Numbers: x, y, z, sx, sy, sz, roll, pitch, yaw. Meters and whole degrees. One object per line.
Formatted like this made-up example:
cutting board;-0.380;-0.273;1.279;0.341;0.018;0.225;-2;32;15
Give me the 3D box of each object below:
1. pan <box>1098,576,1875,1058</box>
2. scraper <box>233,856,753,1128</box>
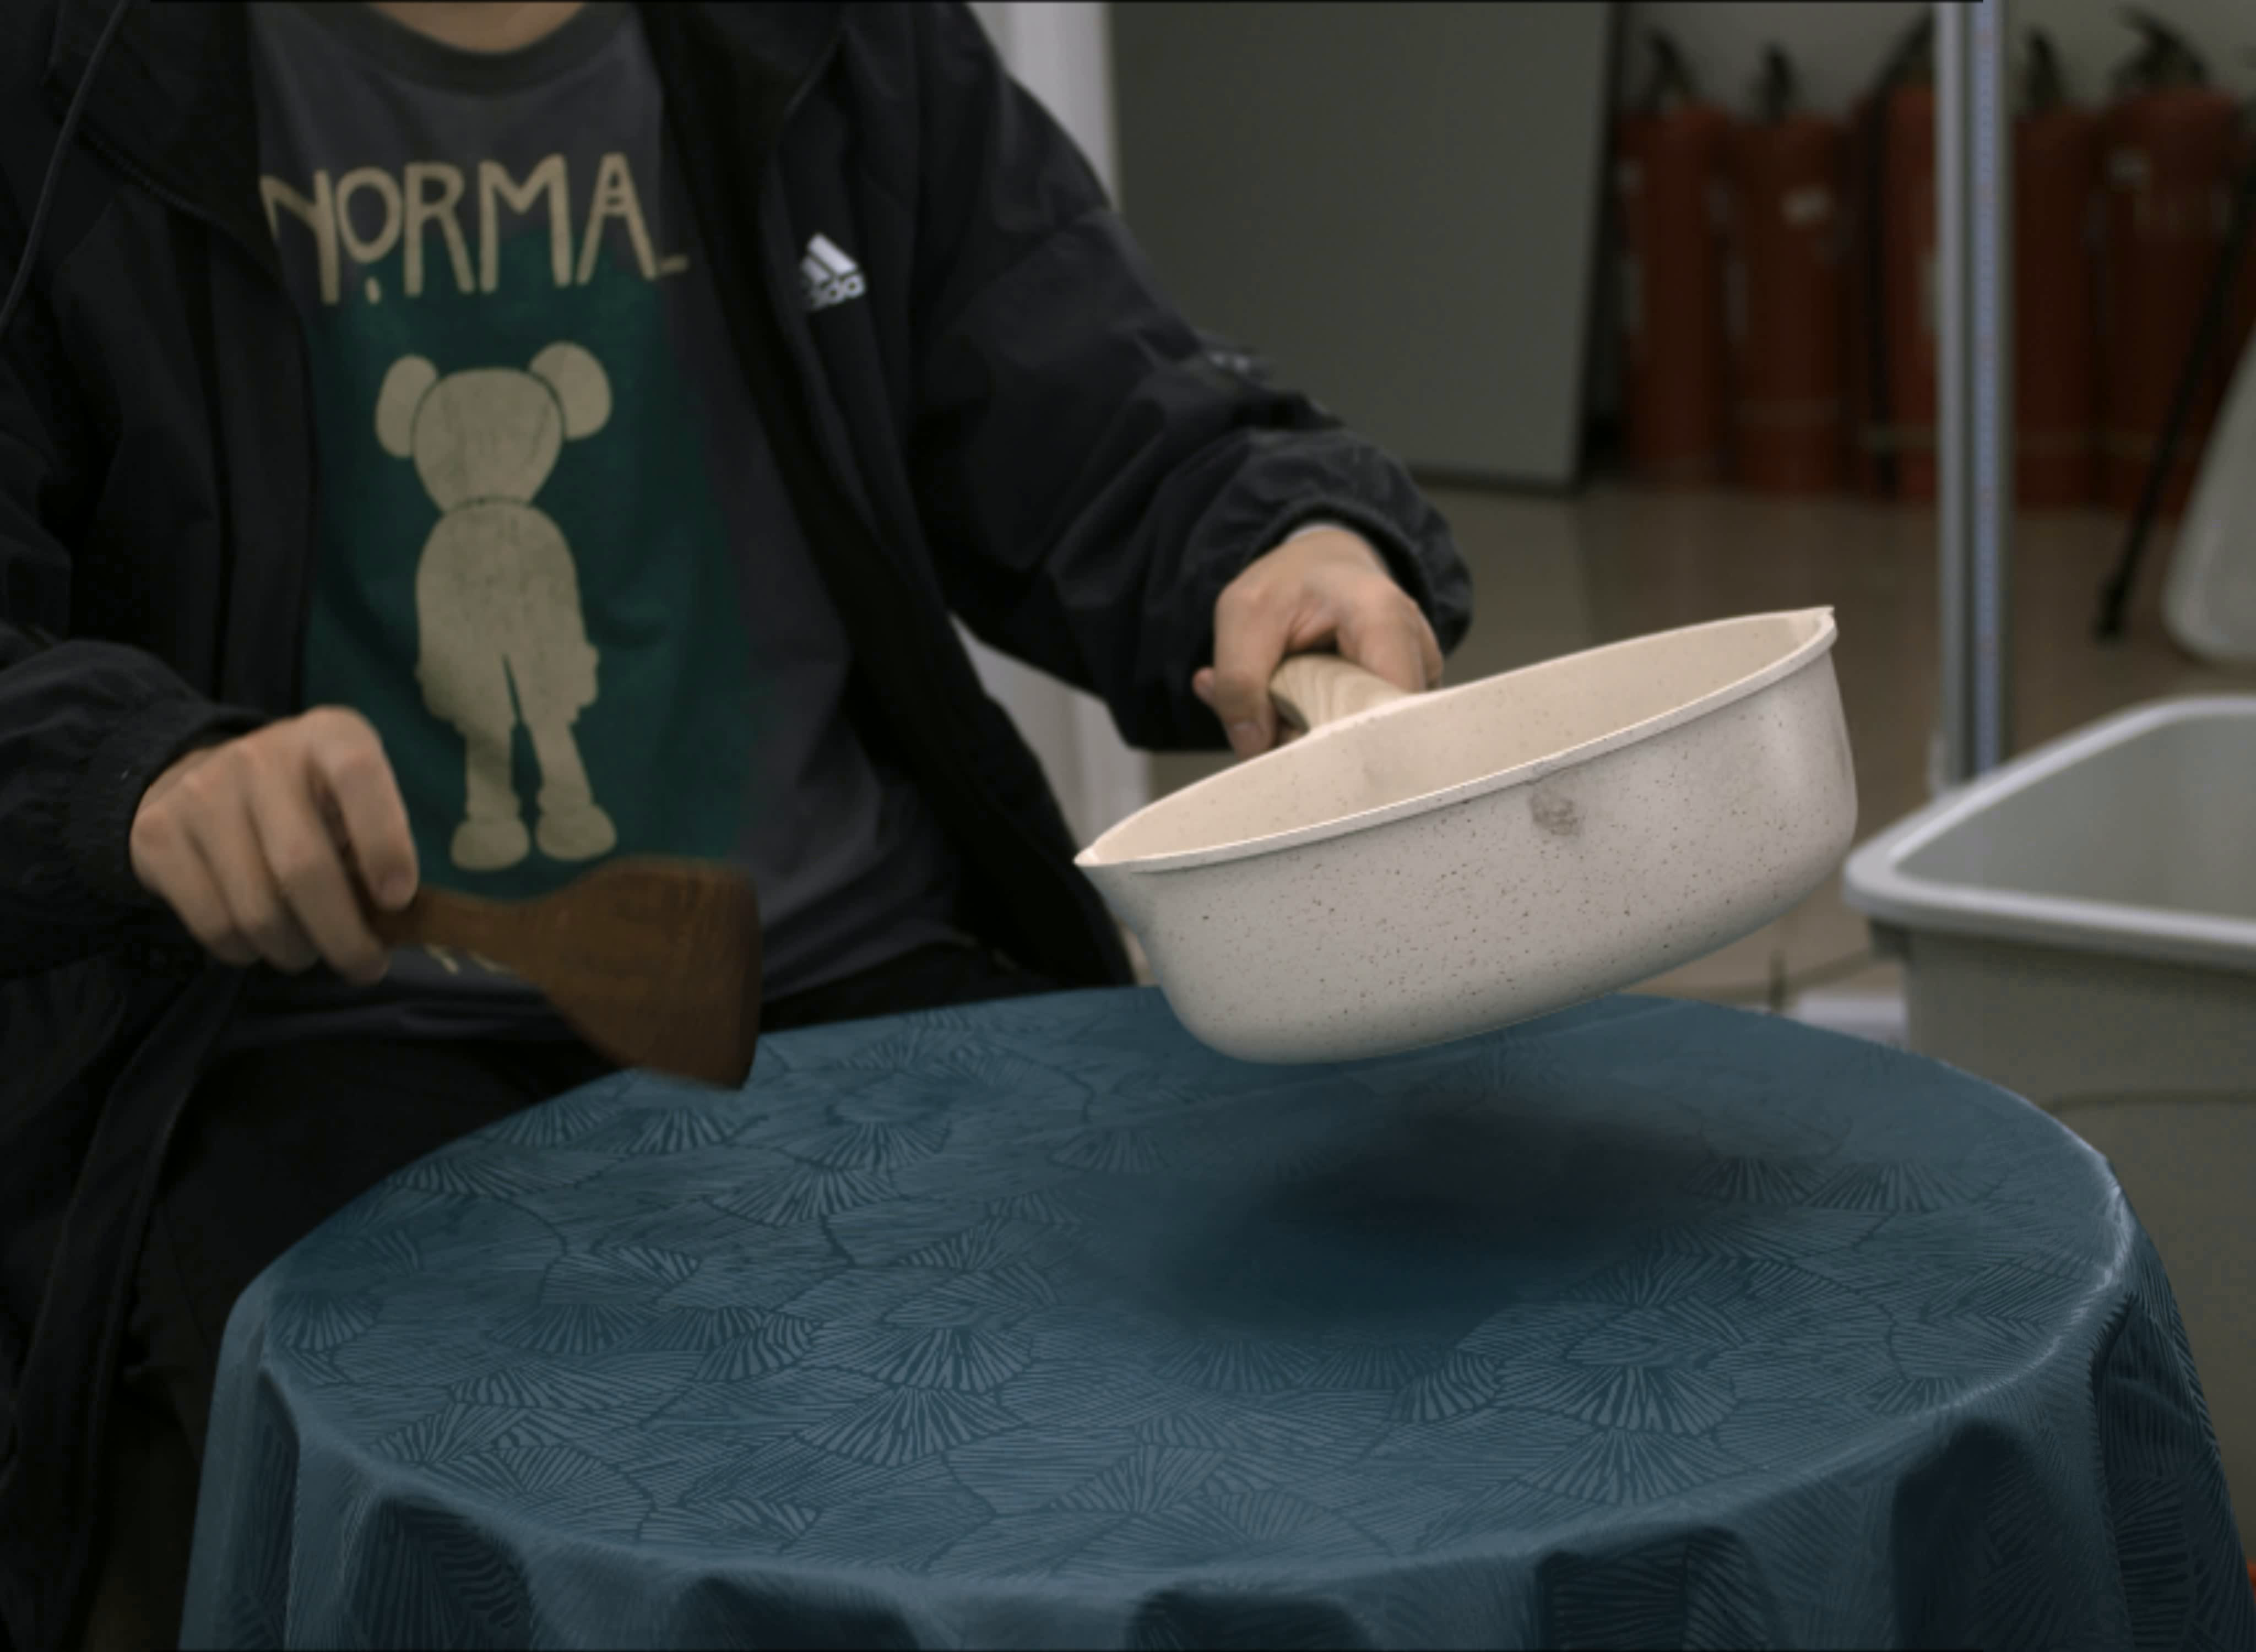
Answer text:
pan;0.105;-0.008;1.820;0.260;0.103;0.437;-21;6;-9
scraper;-0.207;0.042;1.740;0.212;0.077;0.010;12;18;32
